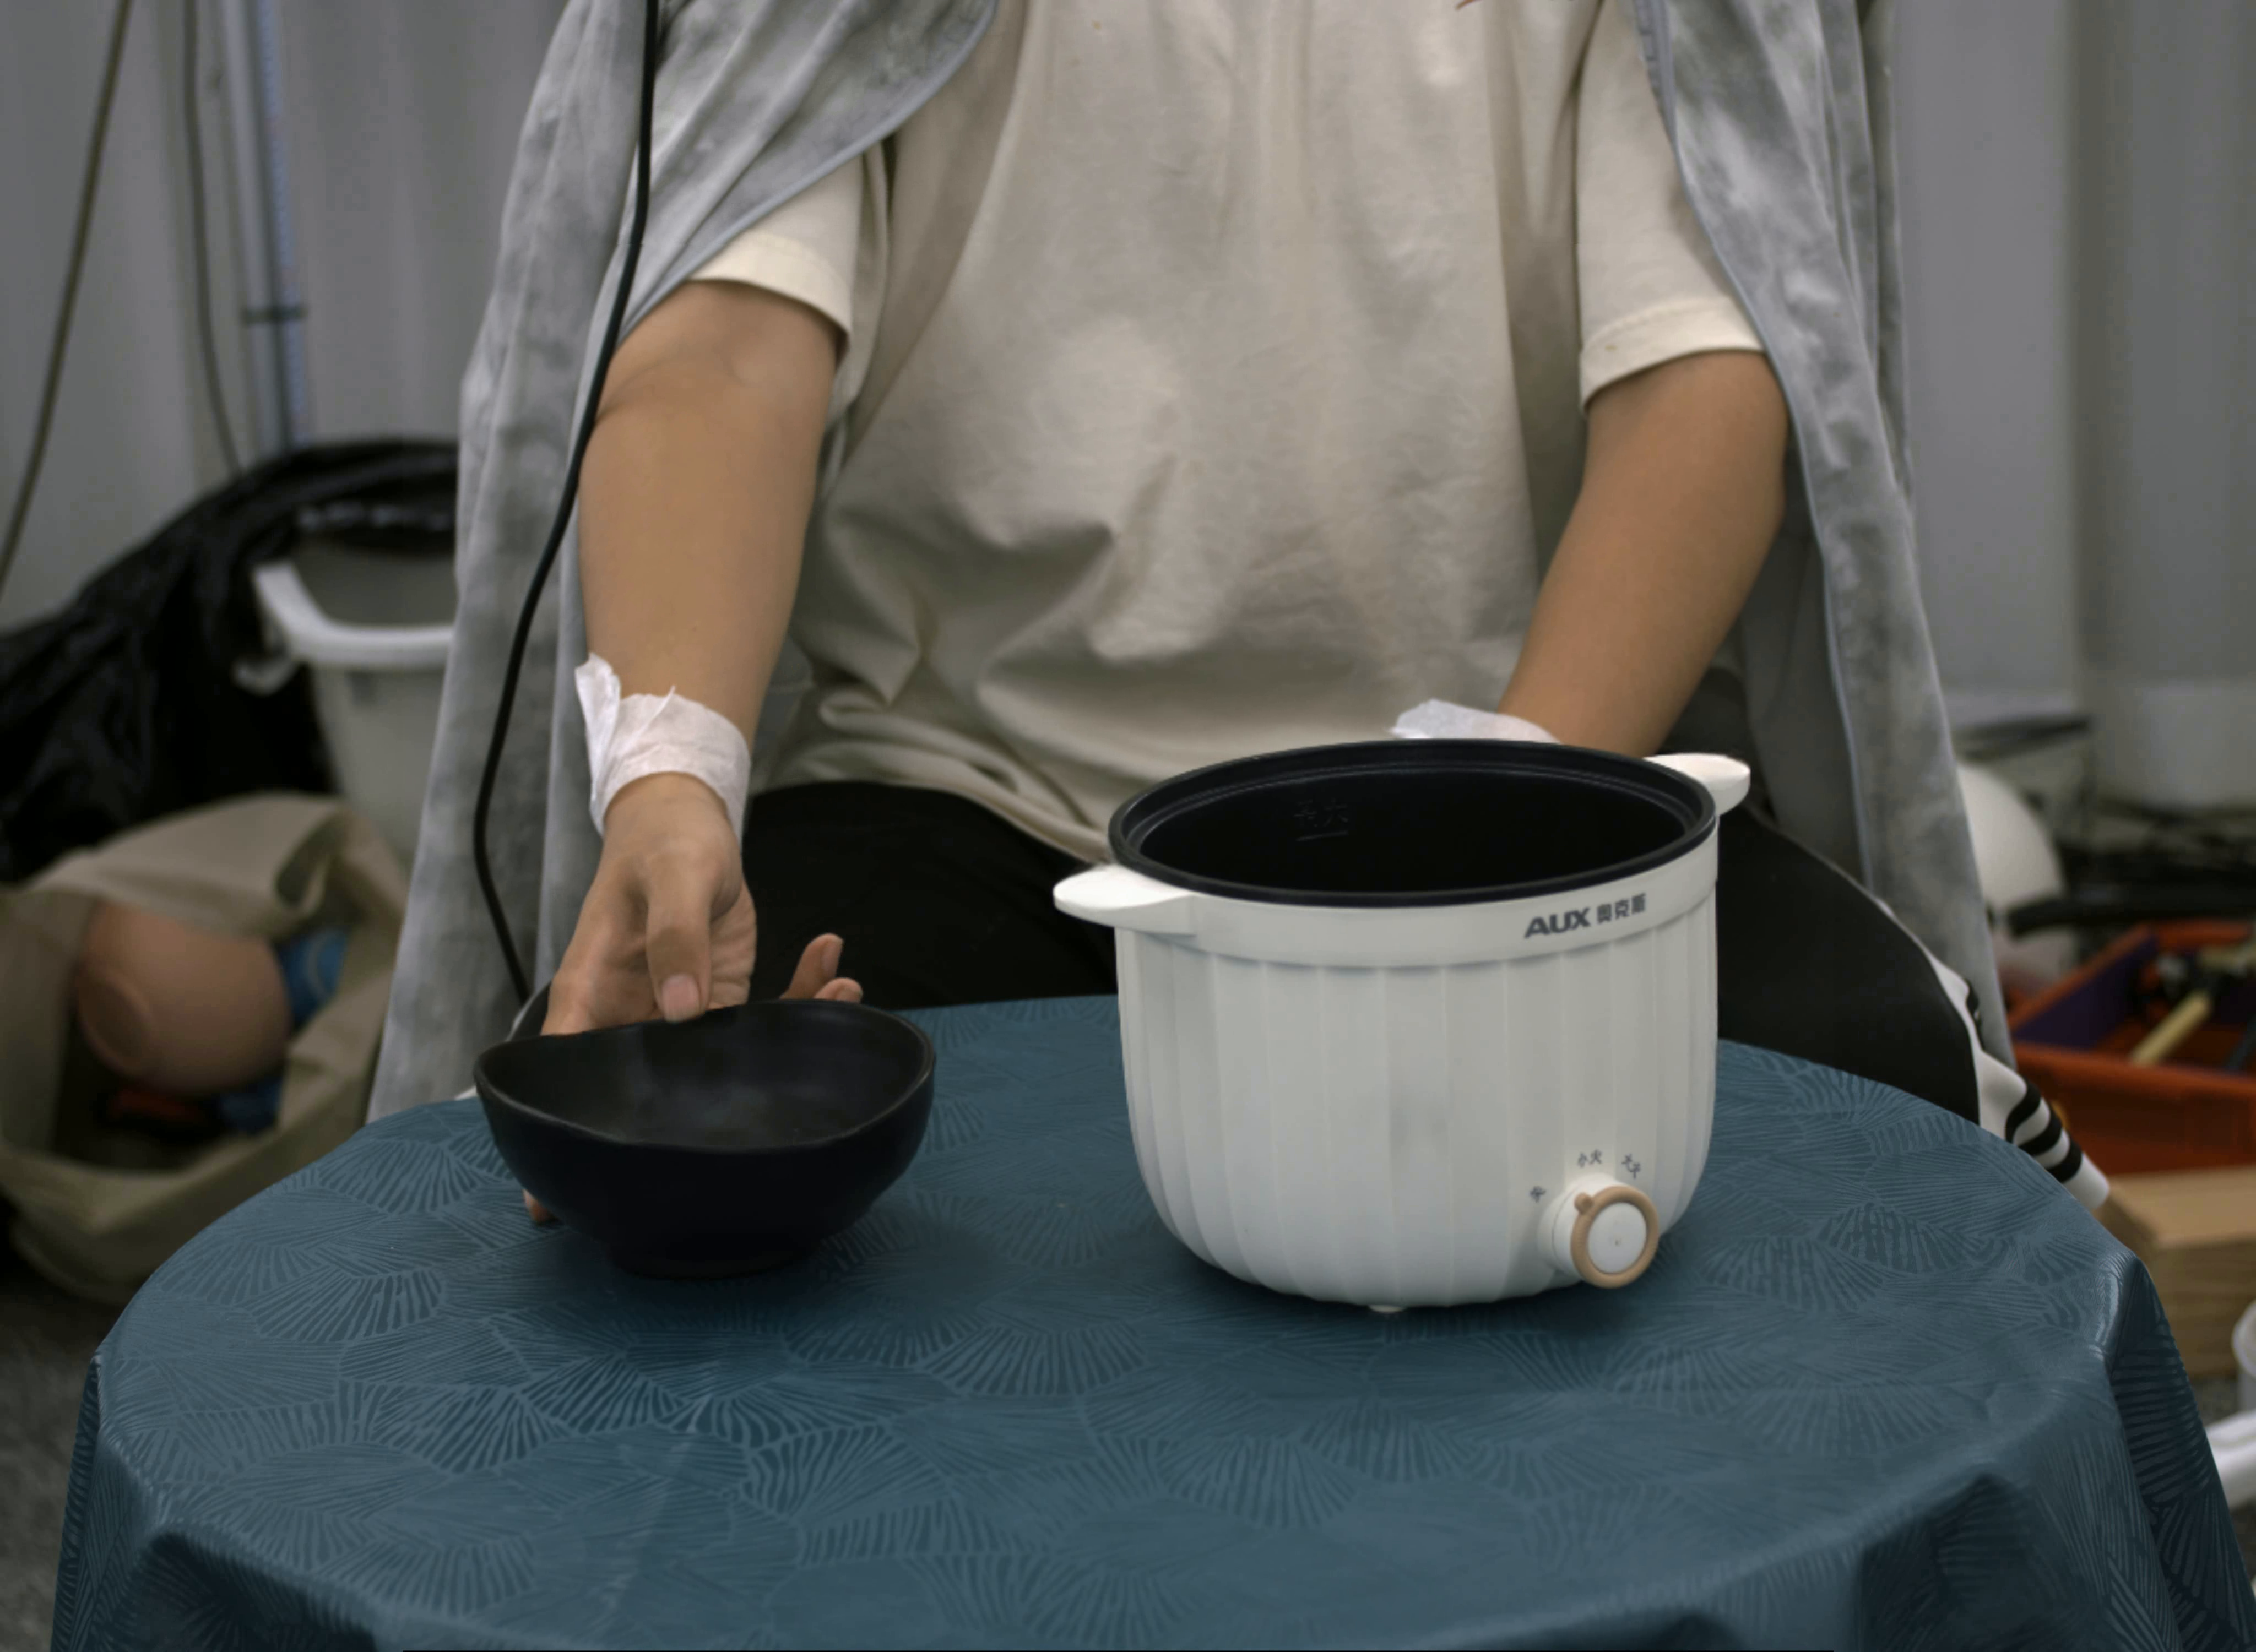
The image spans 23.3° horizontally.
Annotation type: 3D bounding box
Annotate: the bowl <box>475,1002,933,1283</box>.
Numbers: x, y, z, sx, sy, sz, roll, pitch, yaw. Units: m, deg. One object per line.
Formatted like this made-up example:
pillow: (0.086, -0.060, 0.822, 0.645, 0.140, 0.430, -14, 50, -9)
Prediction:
bowl: (-0.130, 0.100, 1.676, 0.137, 0.066, 0.171, -8, 15, -23)

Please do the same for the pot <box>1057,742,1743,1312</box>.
pot: (0.091, 0.061, 1.636, 0.239, 0.142, 0.191, -12, 14, -30)
